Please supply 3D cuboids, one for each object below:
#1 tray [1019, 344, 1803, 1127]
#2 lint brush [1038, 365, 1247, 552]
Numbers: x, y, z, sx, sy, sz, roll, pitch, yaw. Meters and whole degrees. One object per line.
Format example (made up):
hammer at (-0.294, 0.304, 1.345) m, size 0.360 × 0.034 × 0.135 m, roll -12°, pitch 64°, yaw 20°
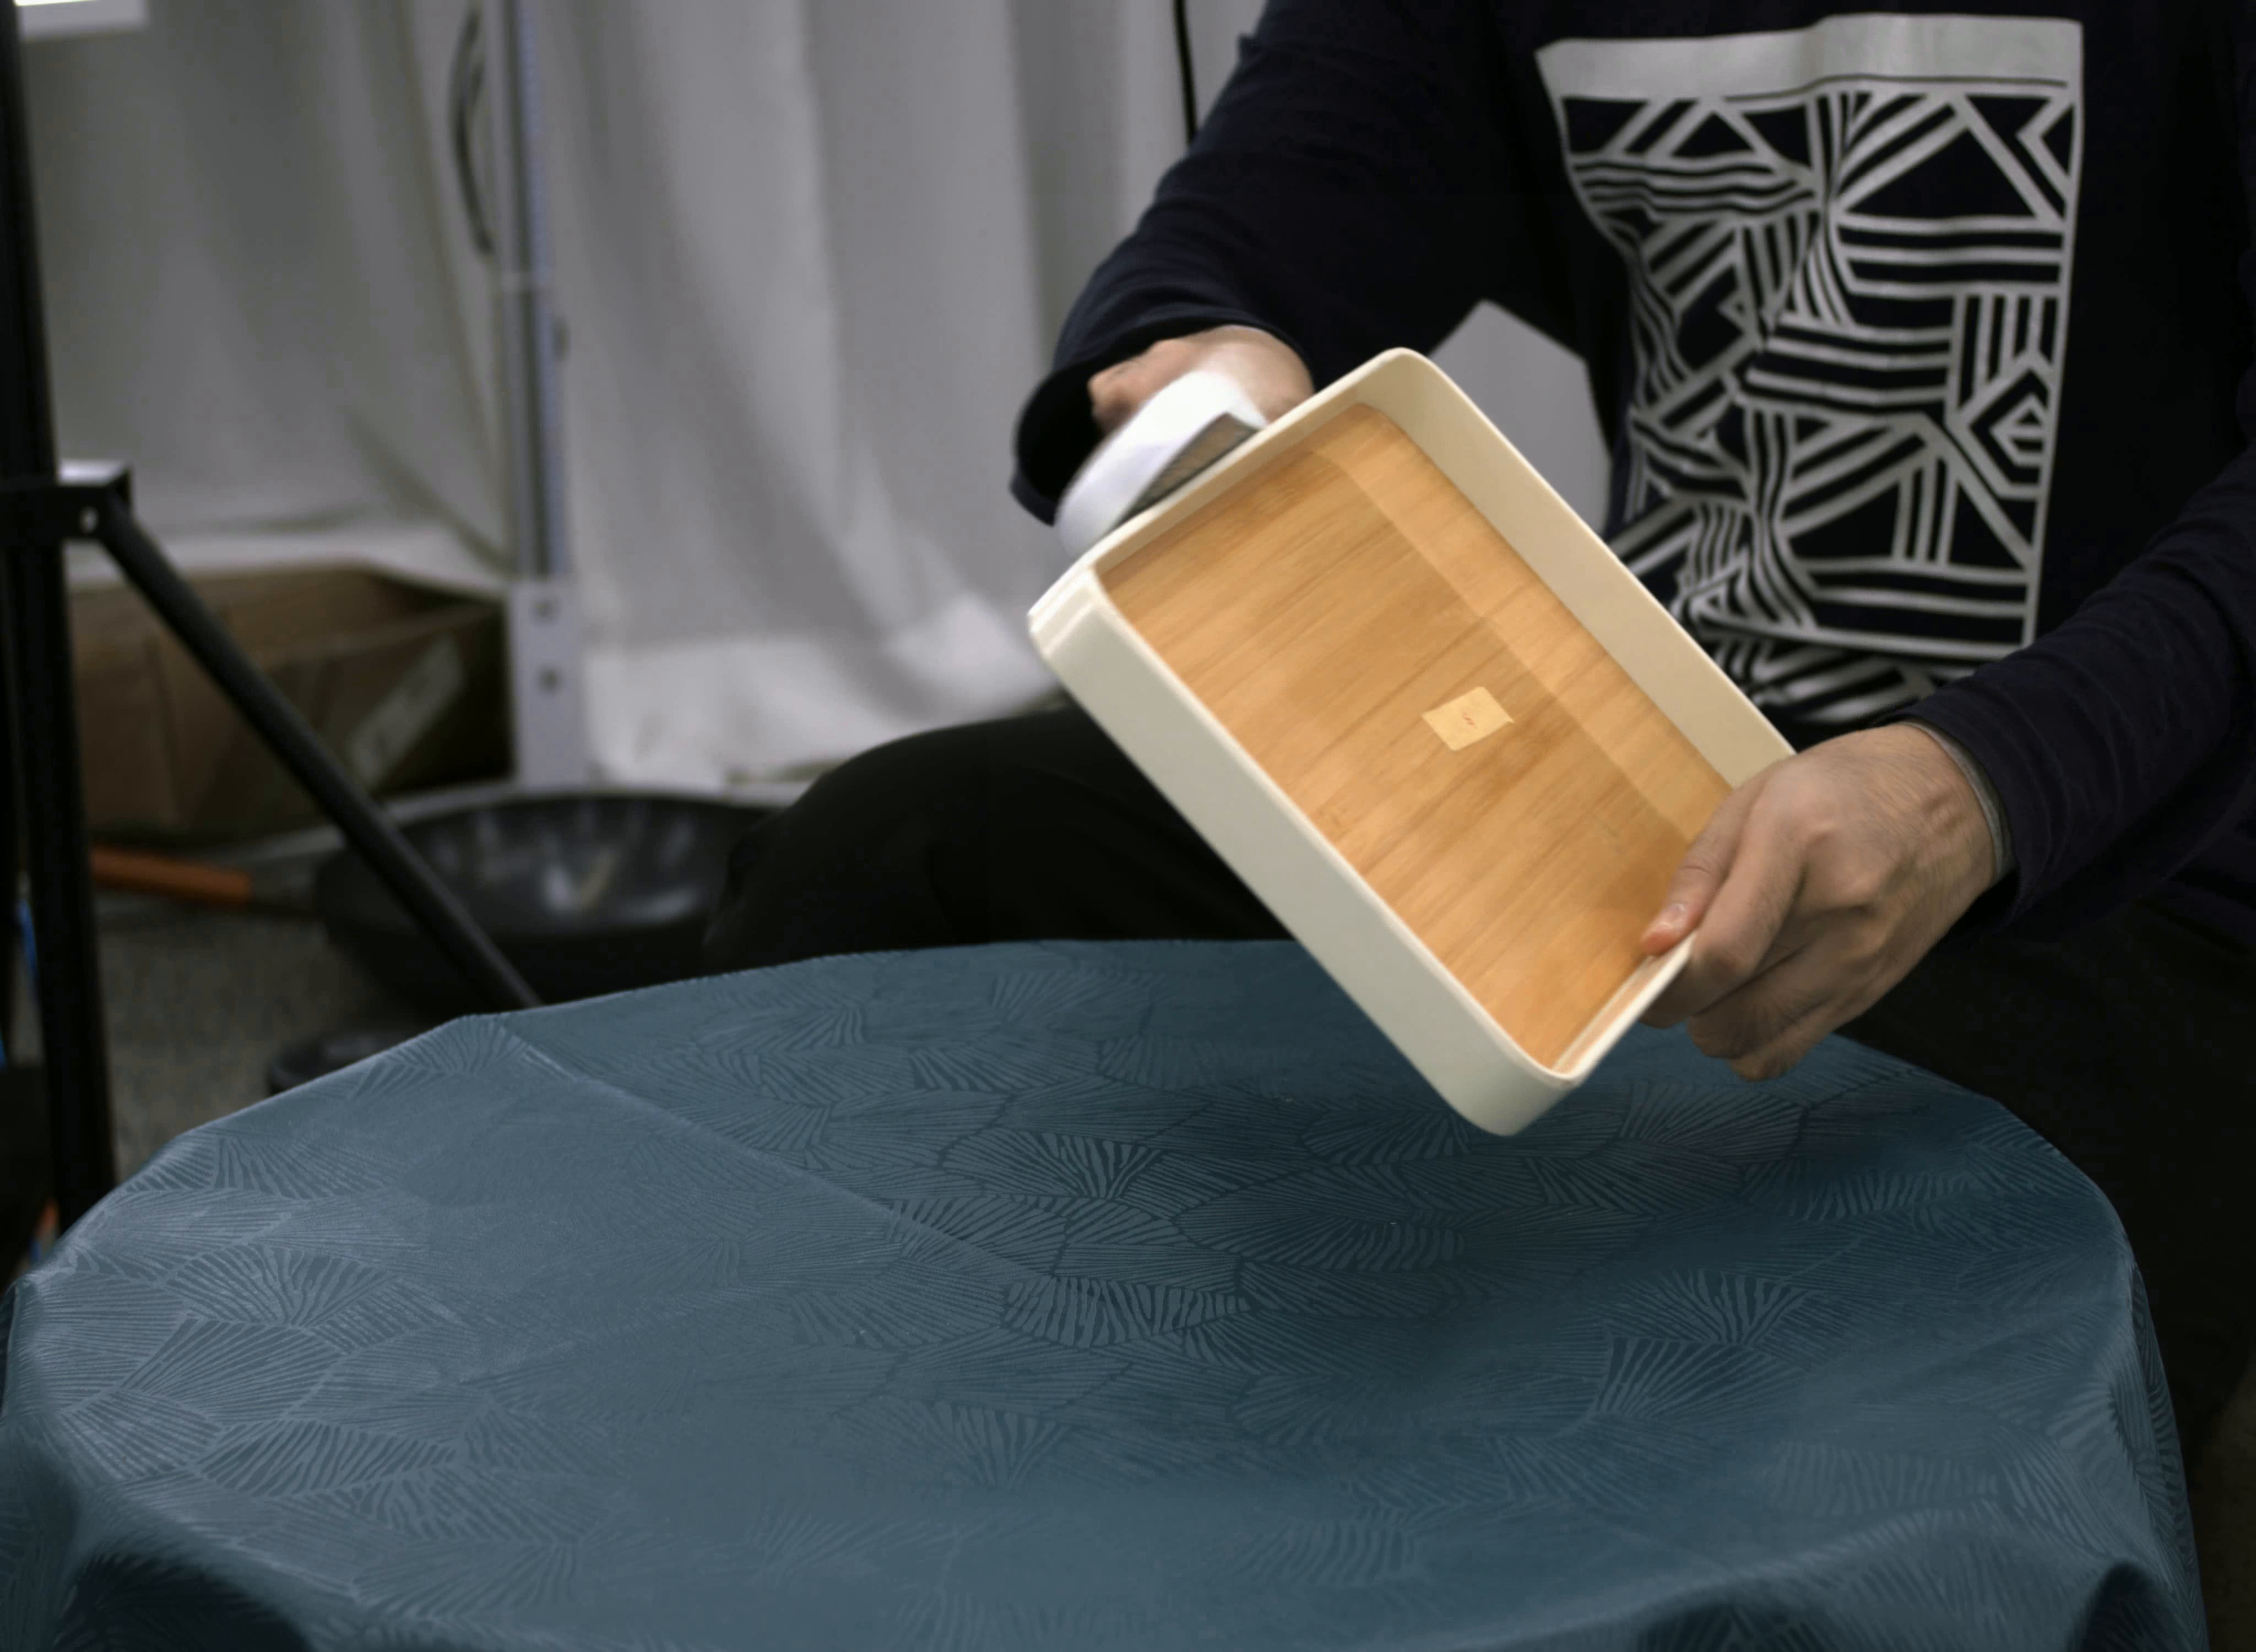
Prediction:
tray at (0.088, -0.033, 1.502) m, size 0.027 × 0.192 × 0.296 m, roll -44°, pitch -4°, yaw 26°
lint brush at (0.014, -0.105, 1.565) m, size 0.021 × 0.060 × 0.307 m, roll 39°, pitch 6°, yaw 4°
